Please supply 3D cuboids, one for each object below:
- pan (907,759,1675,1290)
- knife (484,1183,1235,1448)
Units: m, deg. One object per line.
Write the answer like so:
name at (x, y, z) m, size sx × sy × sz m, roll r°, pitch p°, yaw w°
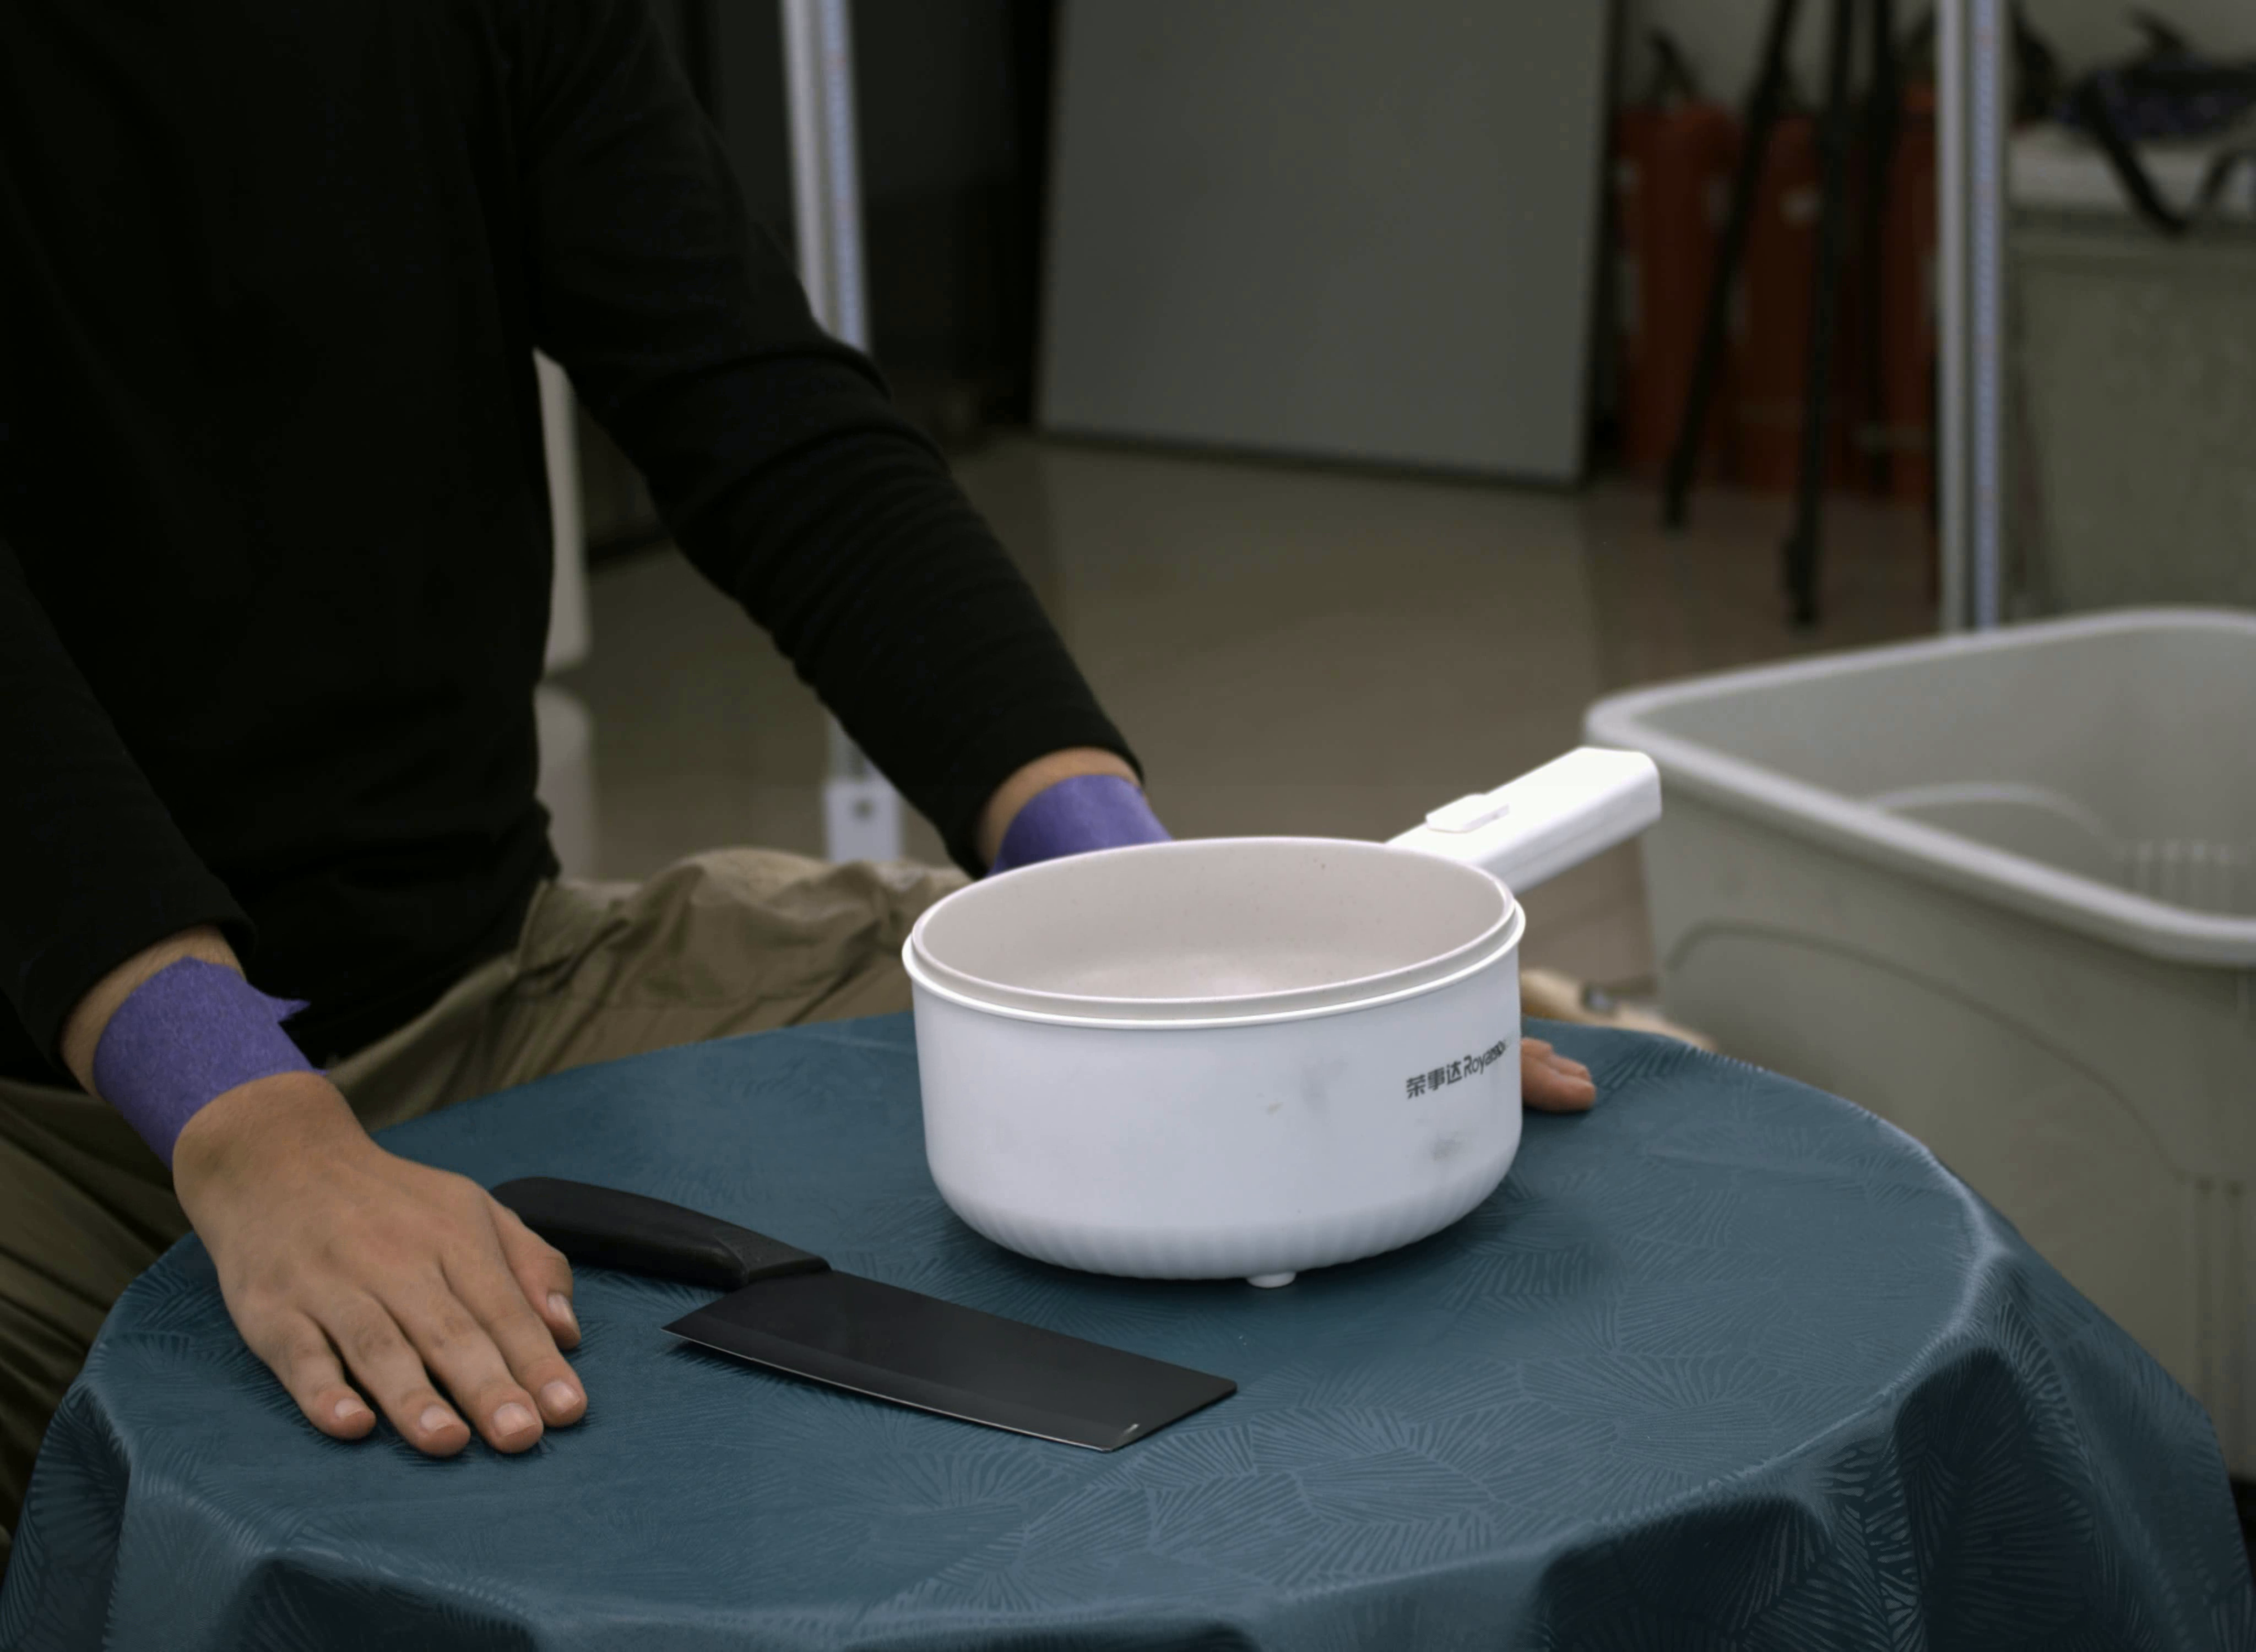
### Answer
pan at (0.076, 0.061, 1.793) m, size 0.202 × 0.103 × 0.348 m, roll 5°, pitch 16°, yaw 37°
knife at (-0.095, 0.150, 1.660) m, size 0.079 × 0.021 × 0.305 m, roll -17°, pitch 21°, yaw -41°
